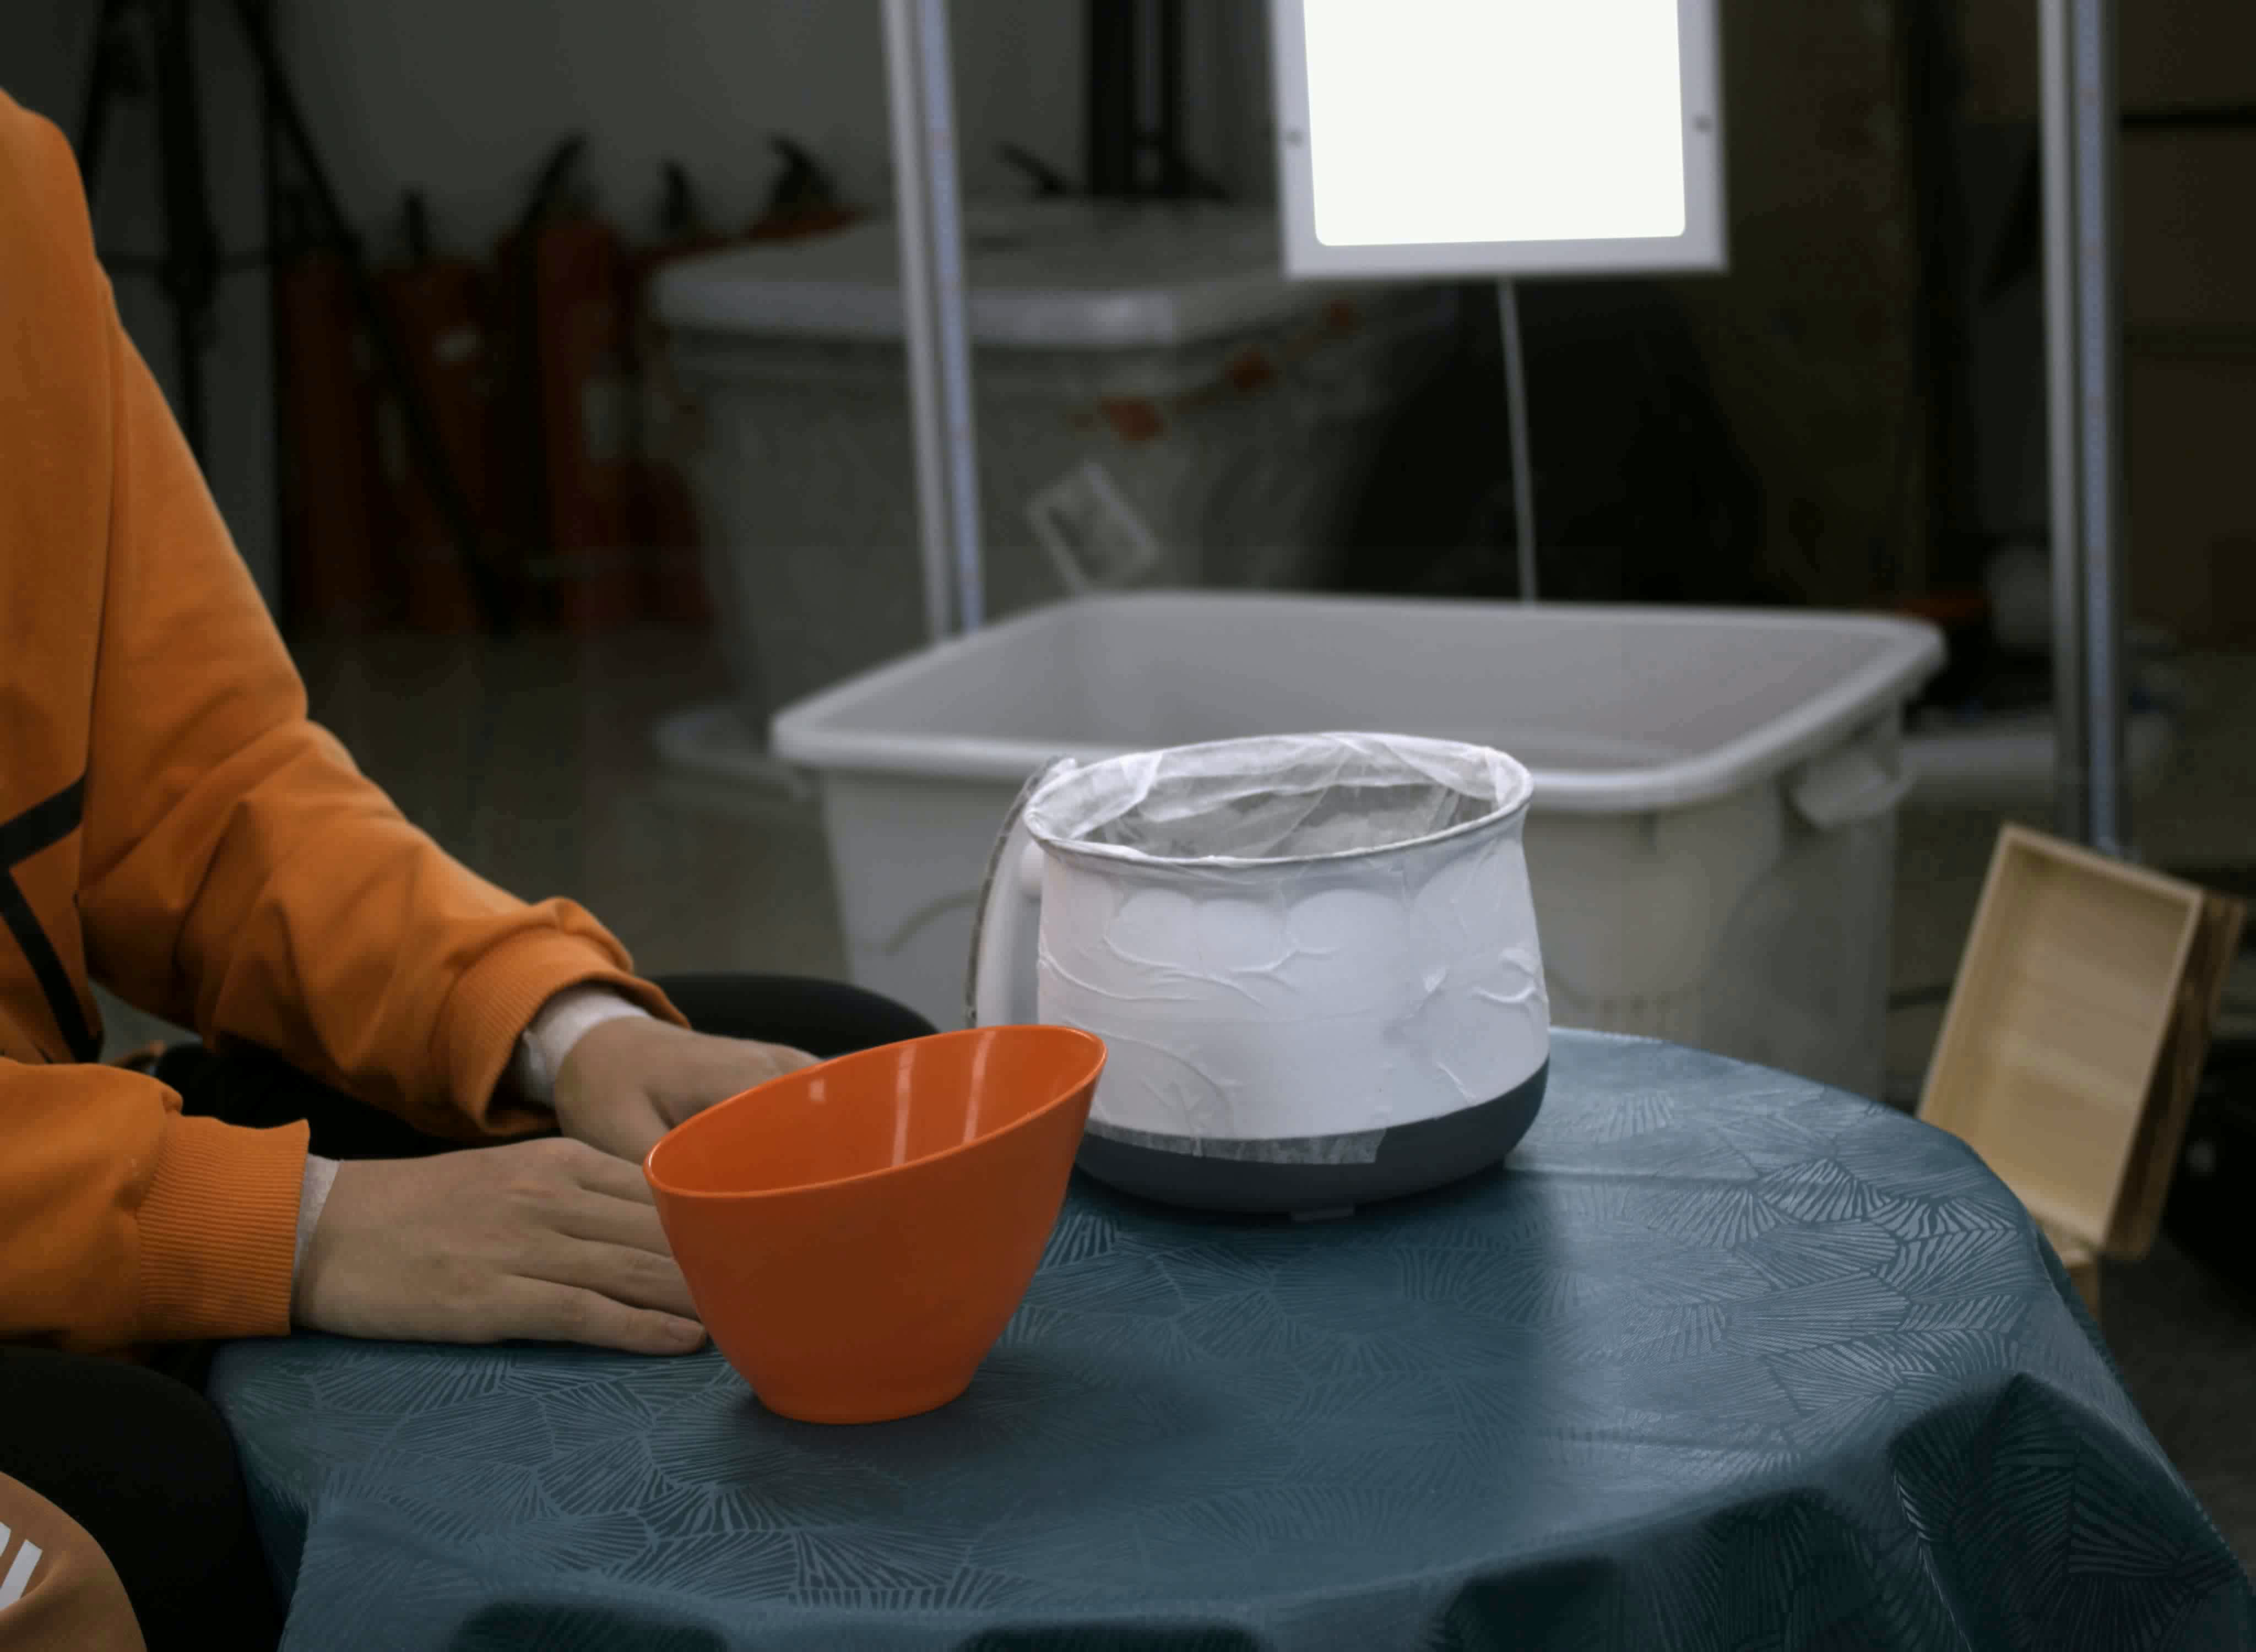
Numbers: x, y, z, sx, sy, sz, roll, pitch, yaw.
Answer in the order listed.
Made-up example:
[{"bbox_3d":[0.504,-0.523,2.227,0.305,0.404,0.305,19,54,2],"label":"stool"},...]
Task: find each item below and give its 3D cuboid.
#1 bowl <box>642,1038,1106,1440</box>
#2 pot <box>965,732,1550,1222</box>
[{"bbox_3d":[-0.075,0.130,1.711,0.147,0.105,0.148,-6,13,0],"label":"bowl"},{"bbox_3d":[0.035,0.048,1.917,0.239,0.137,0.174,7,18,40],"label":"pot"}]
